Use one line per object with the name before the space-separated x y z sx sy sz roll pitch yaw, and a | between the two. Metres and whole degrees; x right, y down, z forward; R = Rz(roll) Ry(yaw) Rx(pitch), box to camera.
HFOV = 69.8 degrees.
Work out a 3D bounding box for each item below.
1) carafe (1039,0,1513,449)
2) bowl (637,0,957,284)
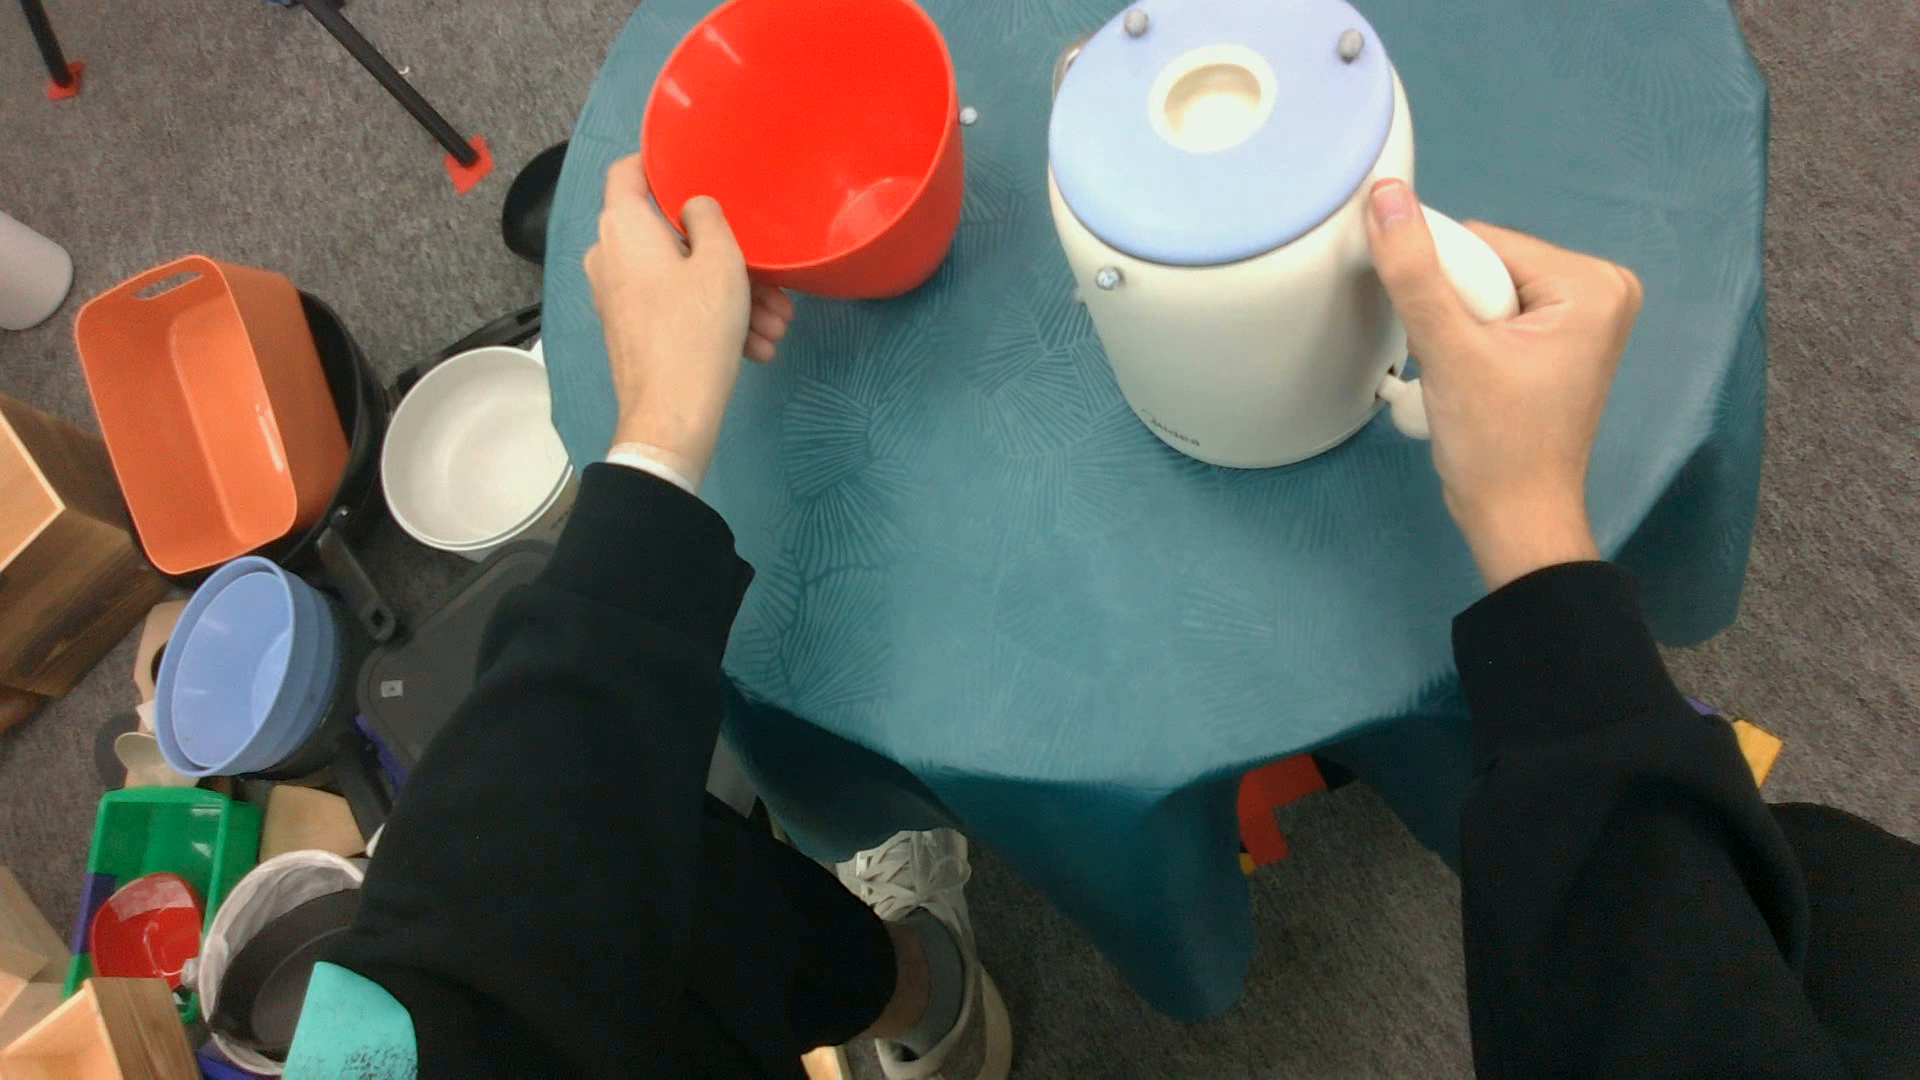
carafe | 0.127 -0.114 0.545 0.191 0.182 0.132 32 82 22
bowl | -0.063 -0.182 0.654 0.148 0.104 0.148 -8 66 19
